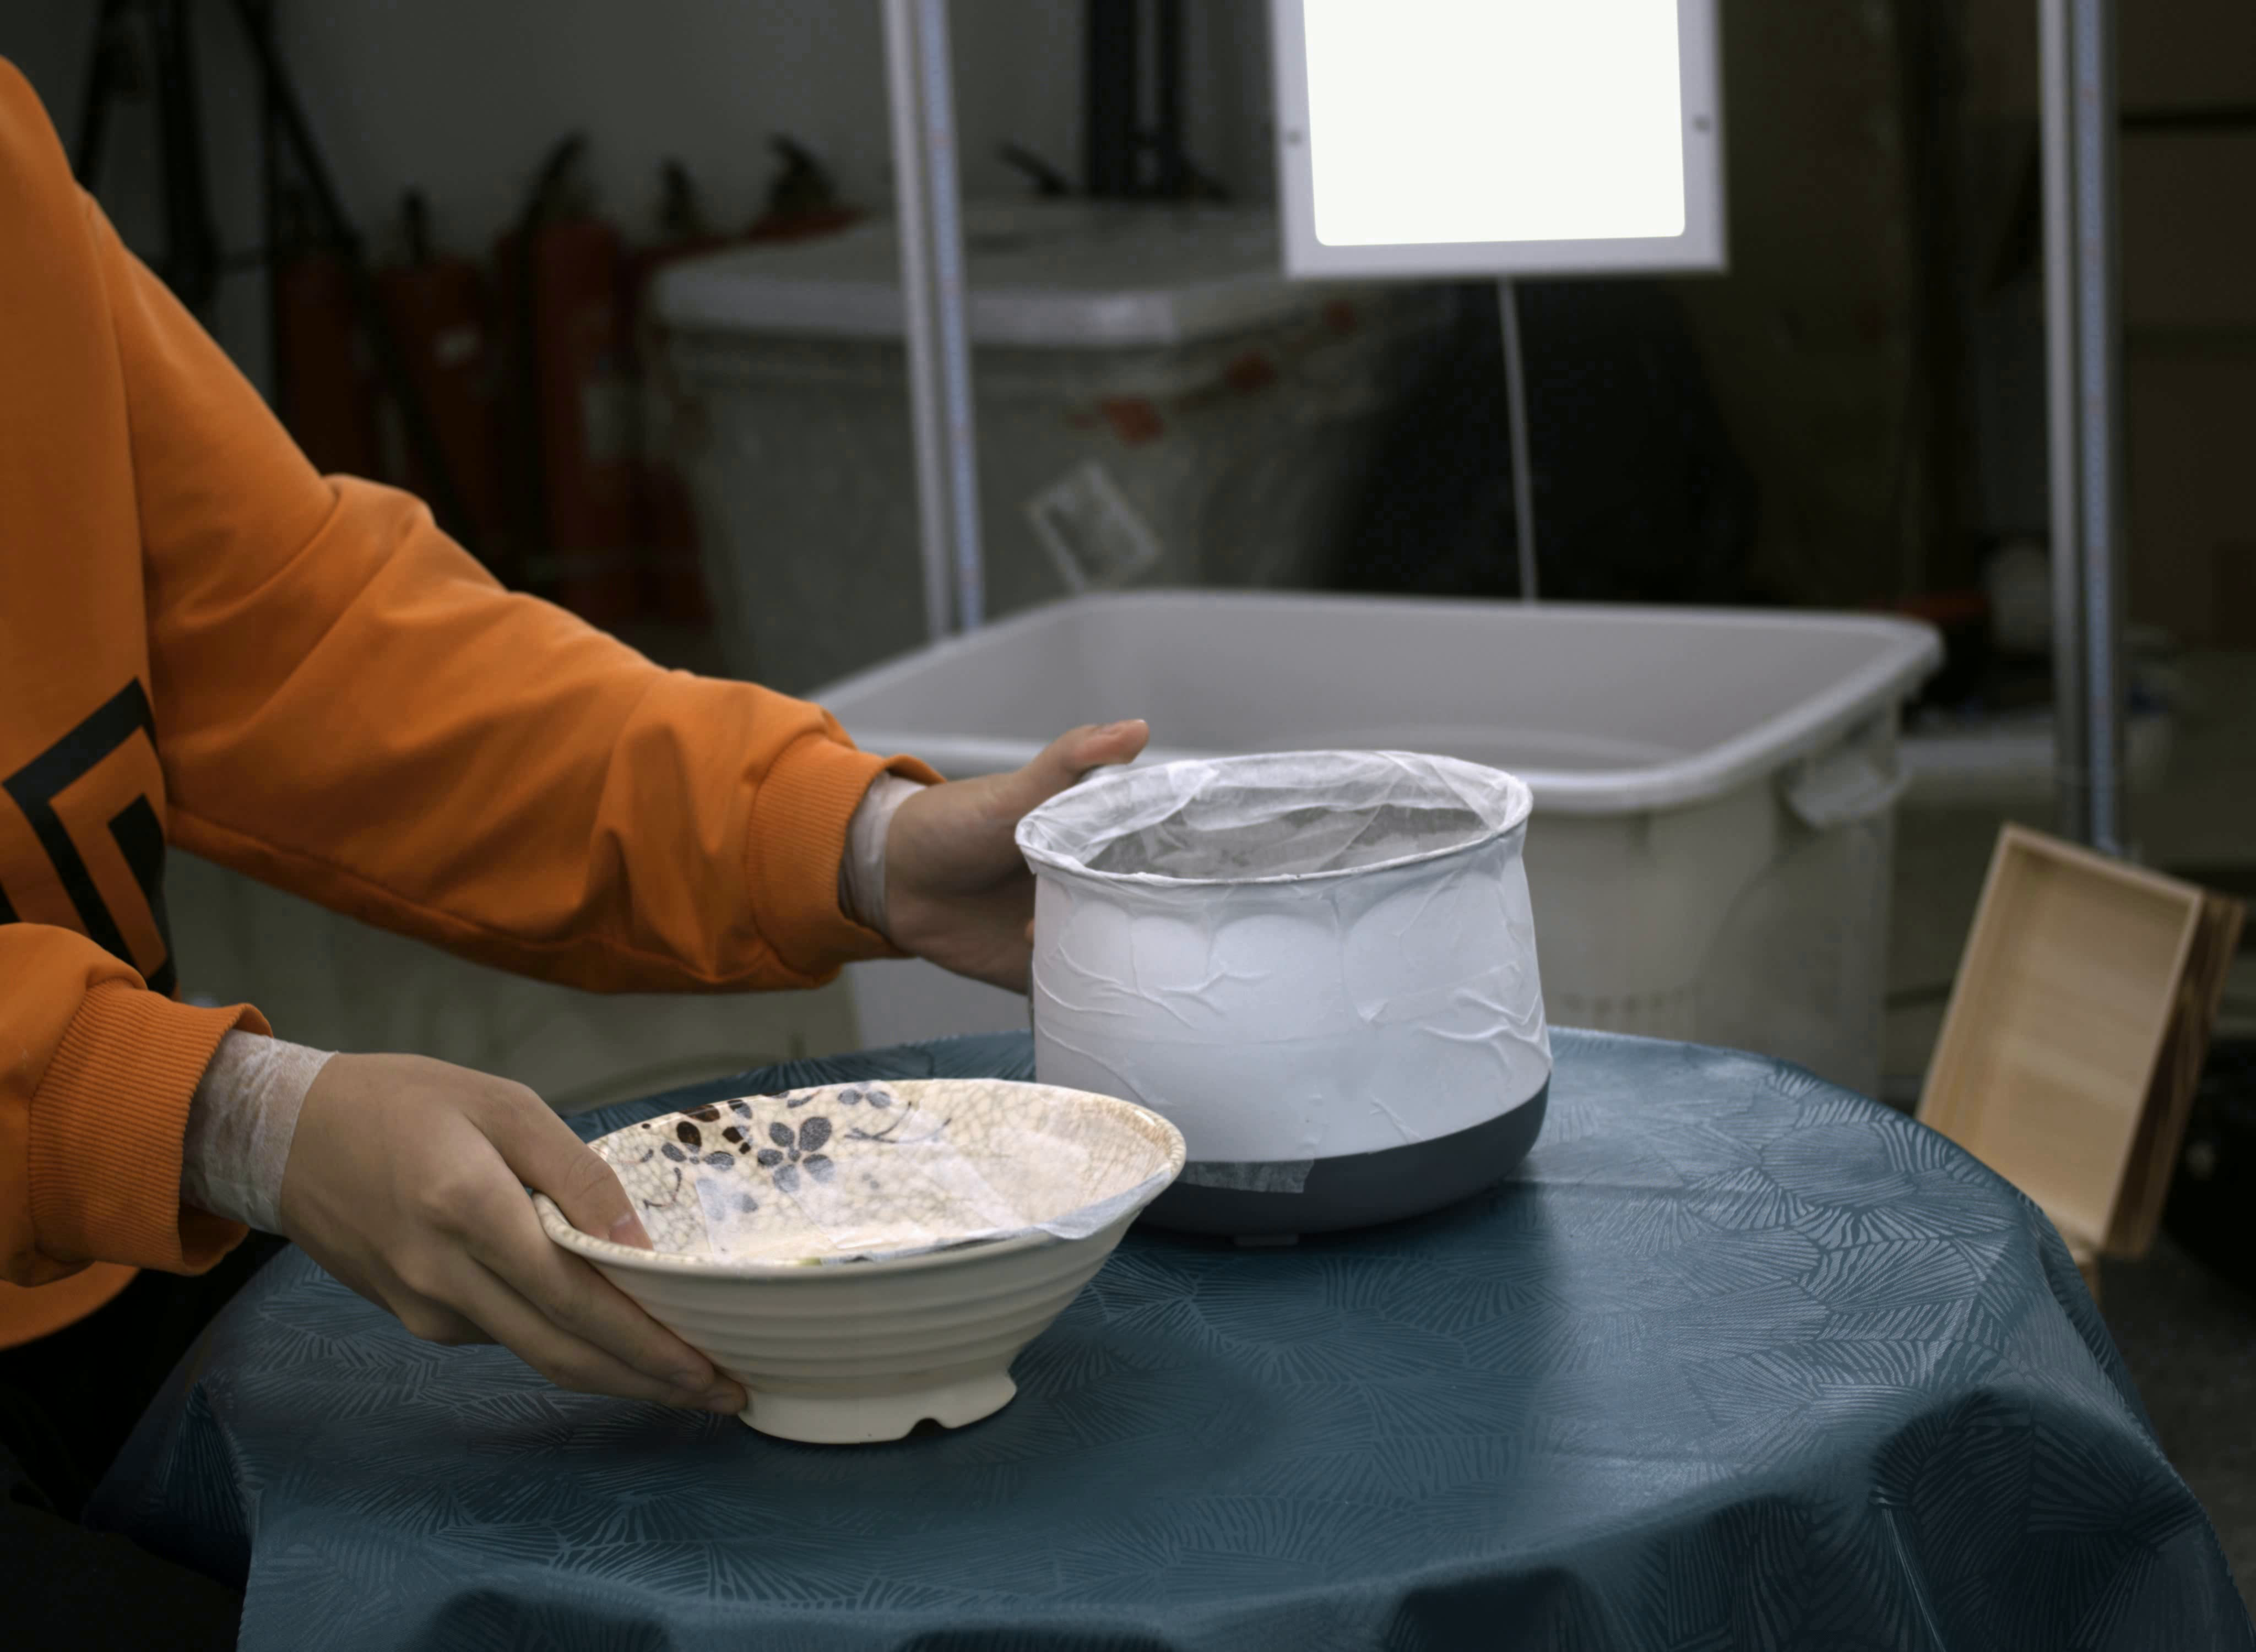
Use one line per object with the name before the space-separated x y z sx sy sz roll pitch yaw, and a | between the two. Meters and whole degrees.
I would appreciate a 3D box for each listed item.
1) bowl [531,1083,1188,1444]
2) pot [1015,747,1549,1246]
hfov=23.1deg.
bowl | -0.079 0.141 1.702 0.203 0.078 0.204 -6 11 0
pot | 0.038 0.052 1.897 0.174 0.137 0.238 -13 16 -32
